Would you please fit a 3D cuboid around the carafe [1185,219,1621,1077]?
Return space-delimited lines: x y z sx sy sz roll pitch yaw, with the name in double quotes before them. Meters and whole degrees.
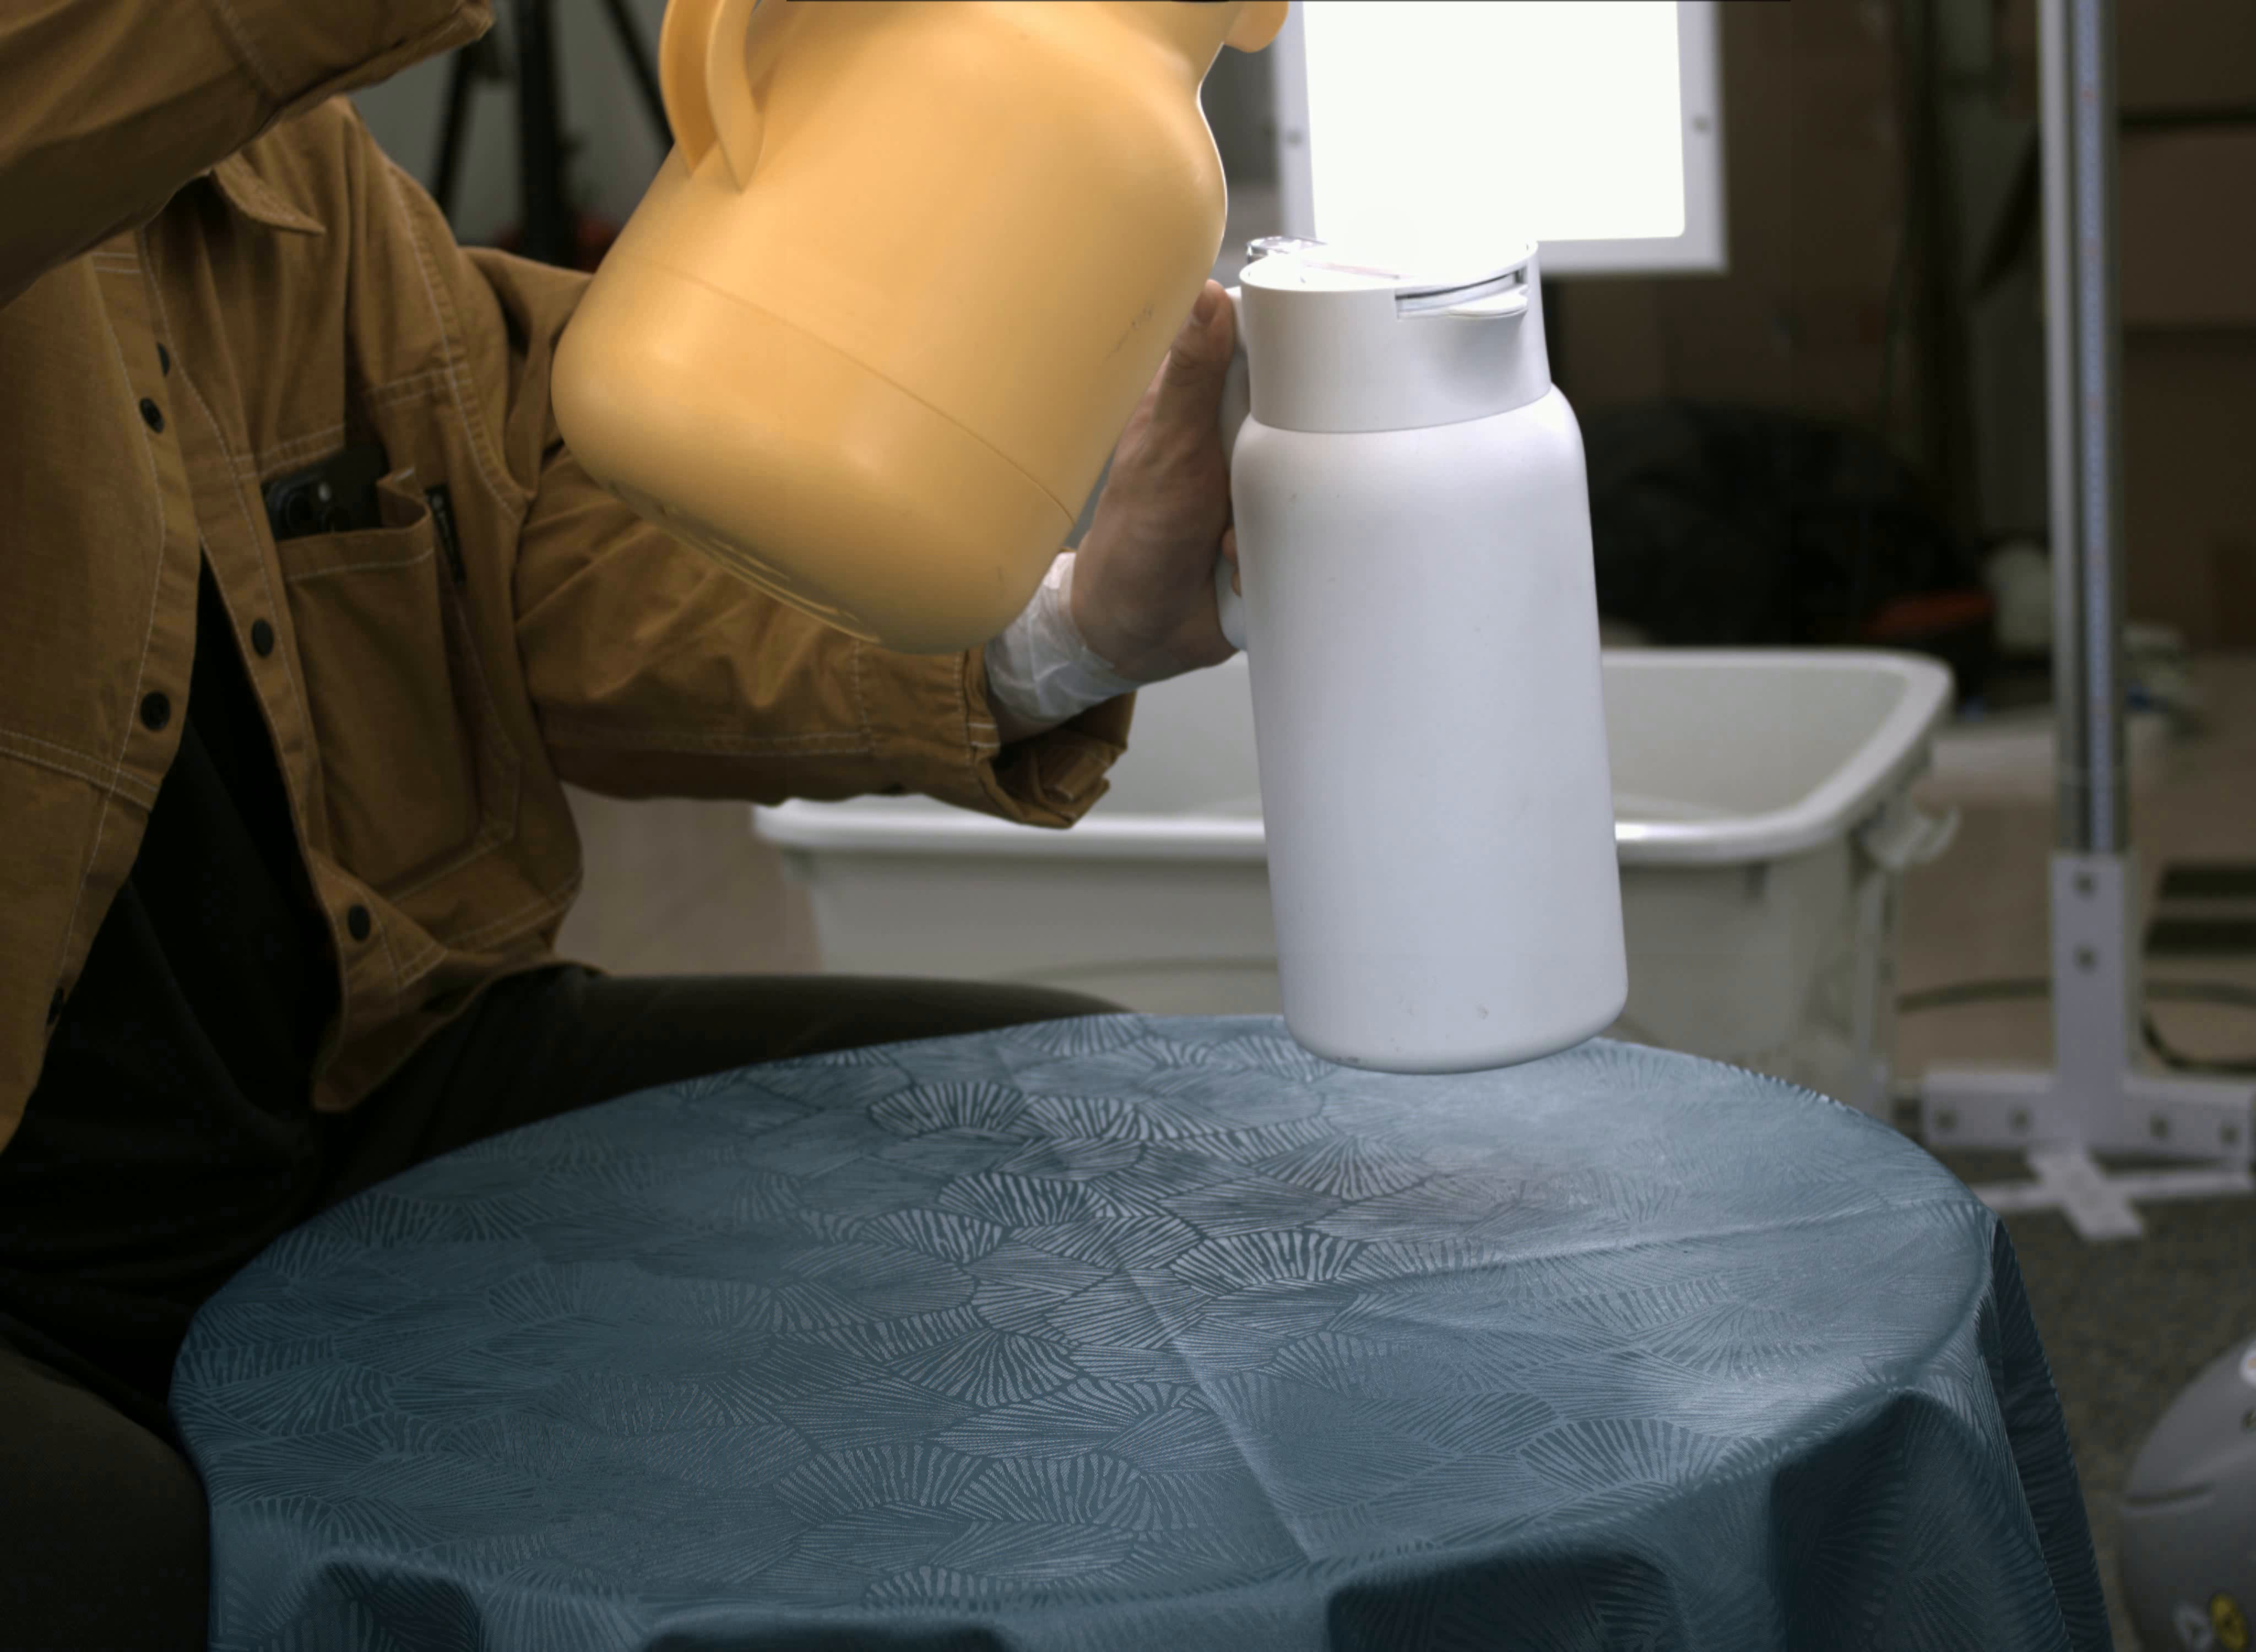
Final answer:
"carafe" 0.085 -0.061 1.830 0.121 0.269 0.176 -18 19 -29

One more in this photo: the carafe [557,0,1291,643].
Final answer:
"carafe" -0.063 -0.205 1.657 0.167 0.259 0.199 19 -13 49
